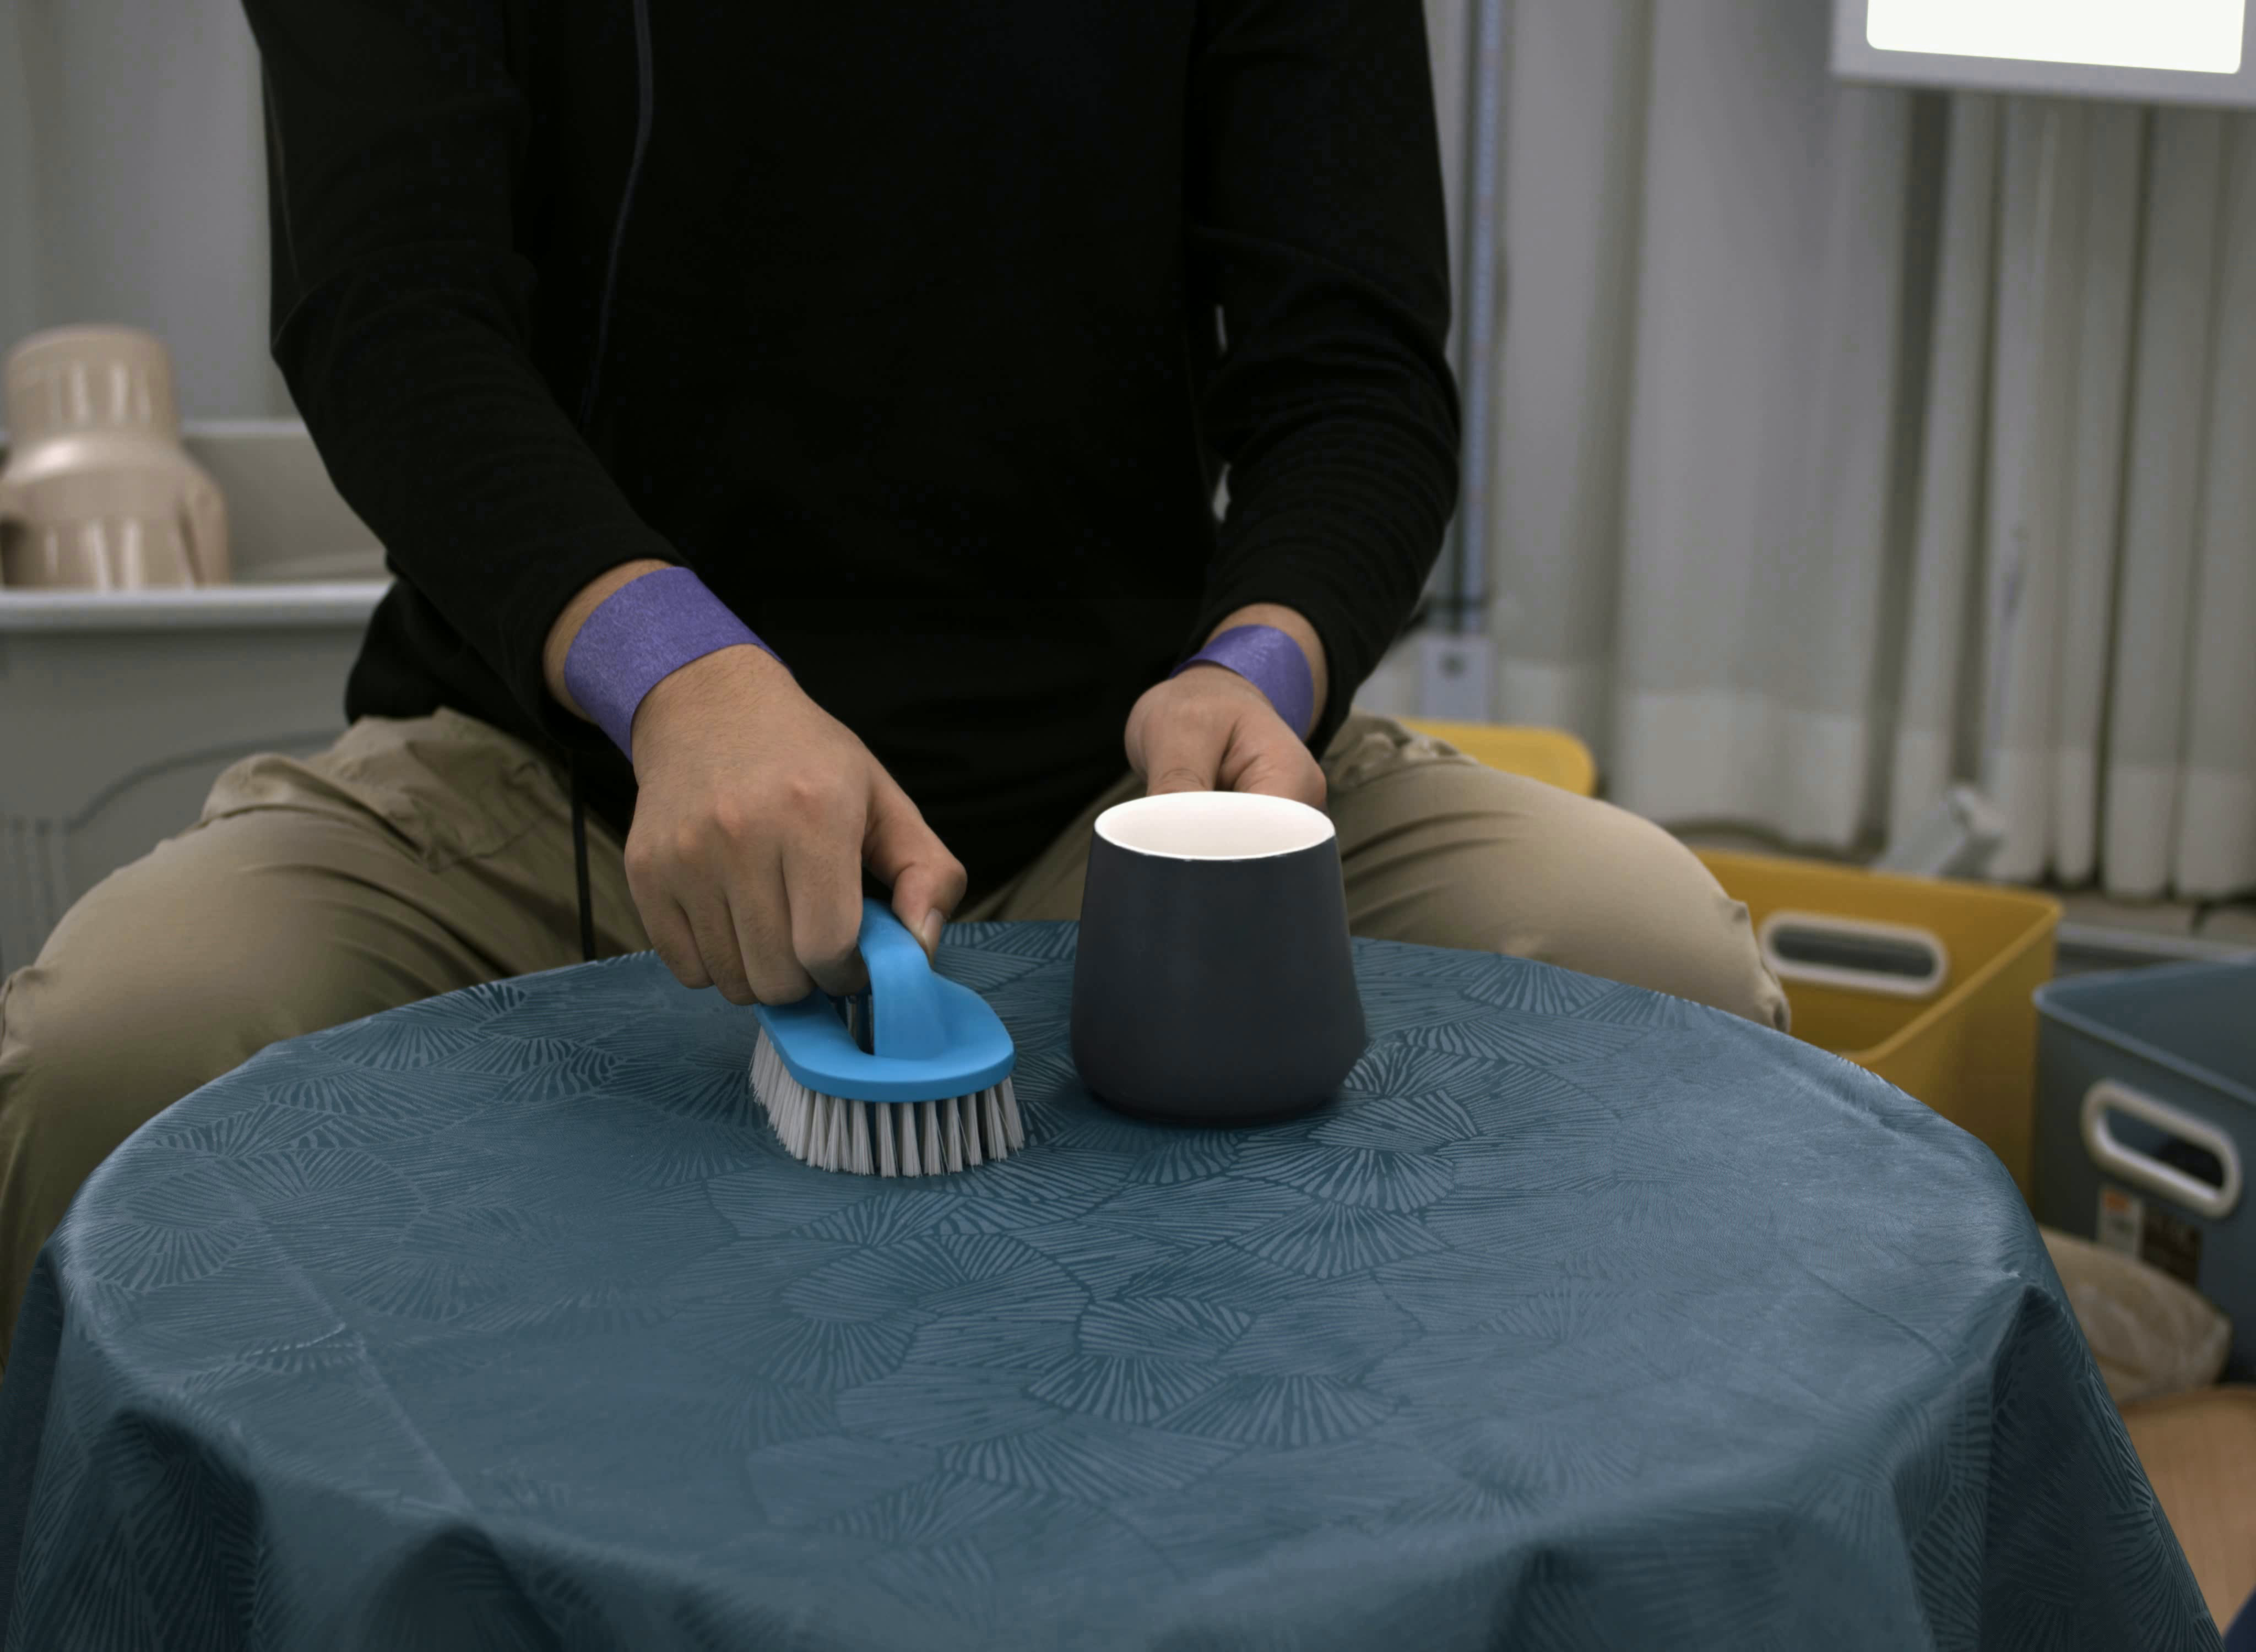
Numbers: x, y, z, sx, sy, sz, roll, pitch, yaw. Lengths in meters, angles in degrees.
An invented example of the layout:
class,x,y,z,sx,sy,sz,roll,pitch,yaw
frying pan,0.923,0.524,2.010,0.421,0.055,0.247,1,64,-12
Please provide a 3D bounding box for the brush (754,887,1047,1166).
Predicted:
class,x,y,z,sx,sy,sz,roll,pitch,yaw
brush,-0.076,0.058,1.689,0.084,0.064,0.140,-7,17,-10

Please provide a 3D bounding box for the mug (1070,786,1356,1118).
class,x,y,z,sx,sy,sz,roll,pitch,yaw
mug,0.027,0.036,1.719,0.093,0.090,0.122,-1,17,-7
